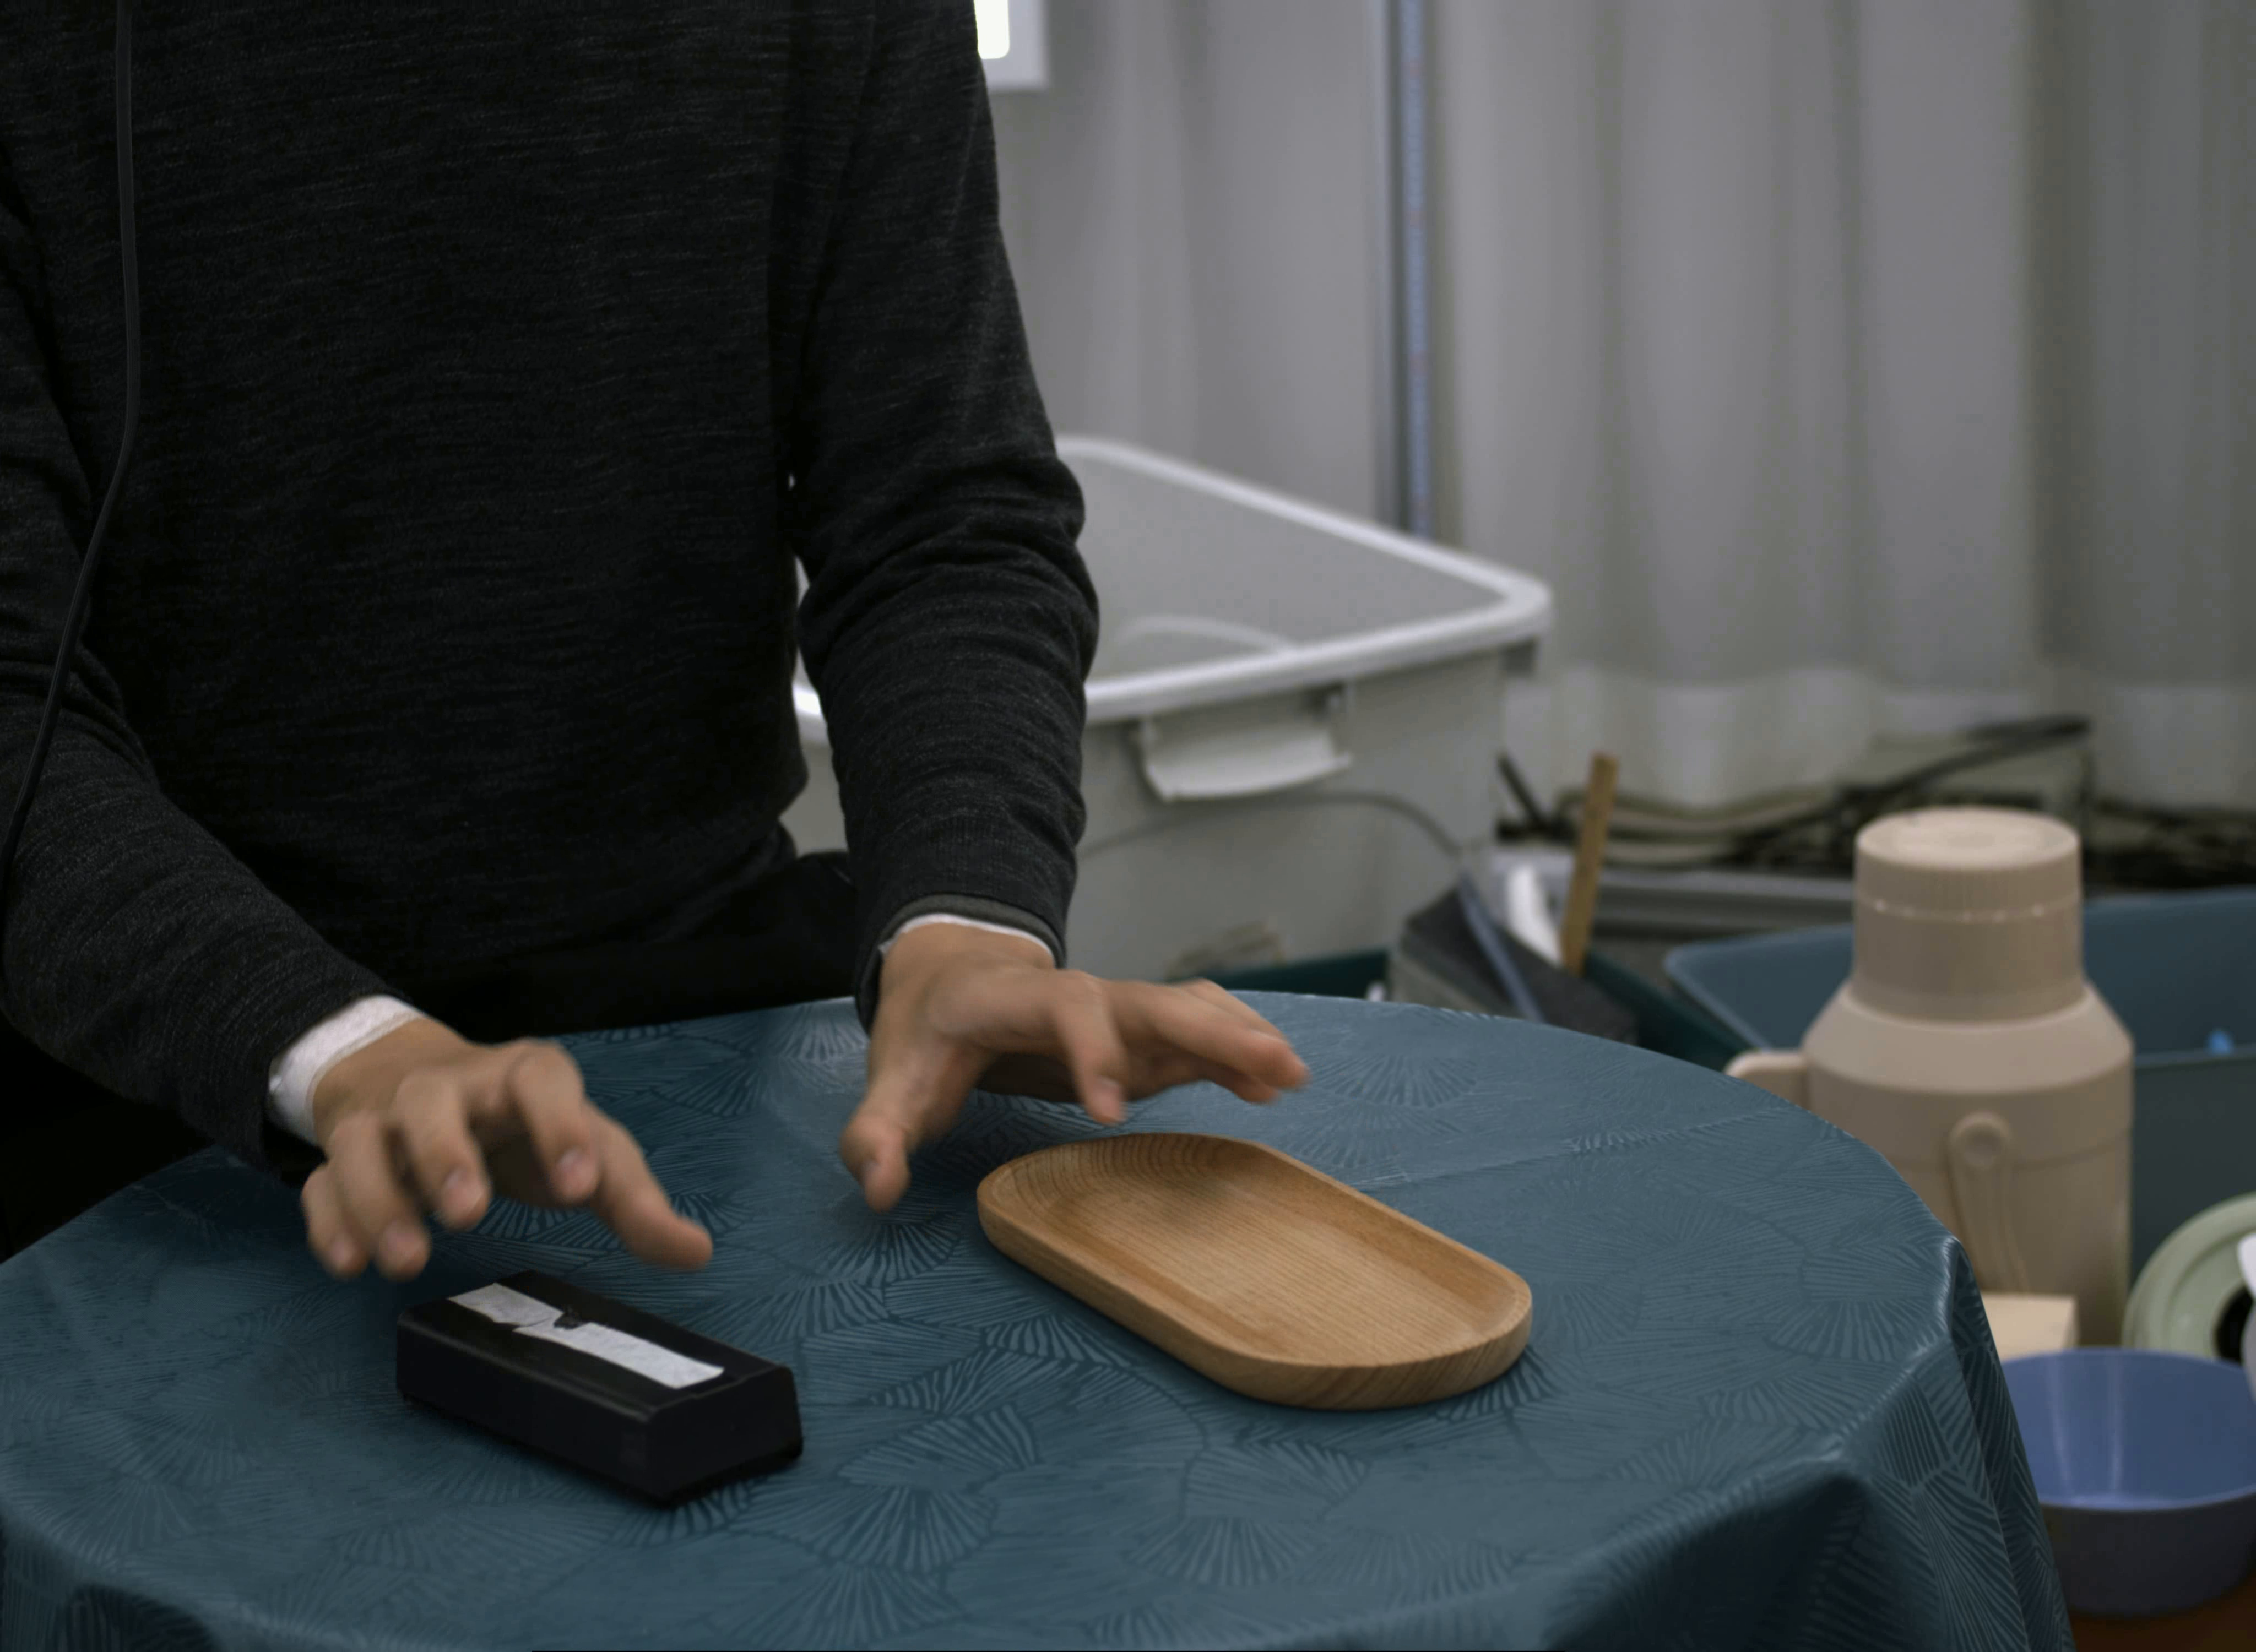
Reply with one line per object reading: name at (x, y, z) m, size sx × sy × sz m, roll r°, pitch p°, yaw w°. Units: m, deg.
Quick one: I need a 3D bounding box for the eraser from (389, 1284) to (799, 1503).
eraser at (-0.149, 0.157, 1.527) m, size 0.053 × 0.030 × 0.126 m, roll -12°, pitch 16°, yaw -40°

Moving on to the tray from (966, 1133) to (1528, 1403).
tray at (0.033, 0.129, 1.621) m, size 0.101 × 0.020 × 0.233 m, roll -9°, pitch 14°, yaw -27°
